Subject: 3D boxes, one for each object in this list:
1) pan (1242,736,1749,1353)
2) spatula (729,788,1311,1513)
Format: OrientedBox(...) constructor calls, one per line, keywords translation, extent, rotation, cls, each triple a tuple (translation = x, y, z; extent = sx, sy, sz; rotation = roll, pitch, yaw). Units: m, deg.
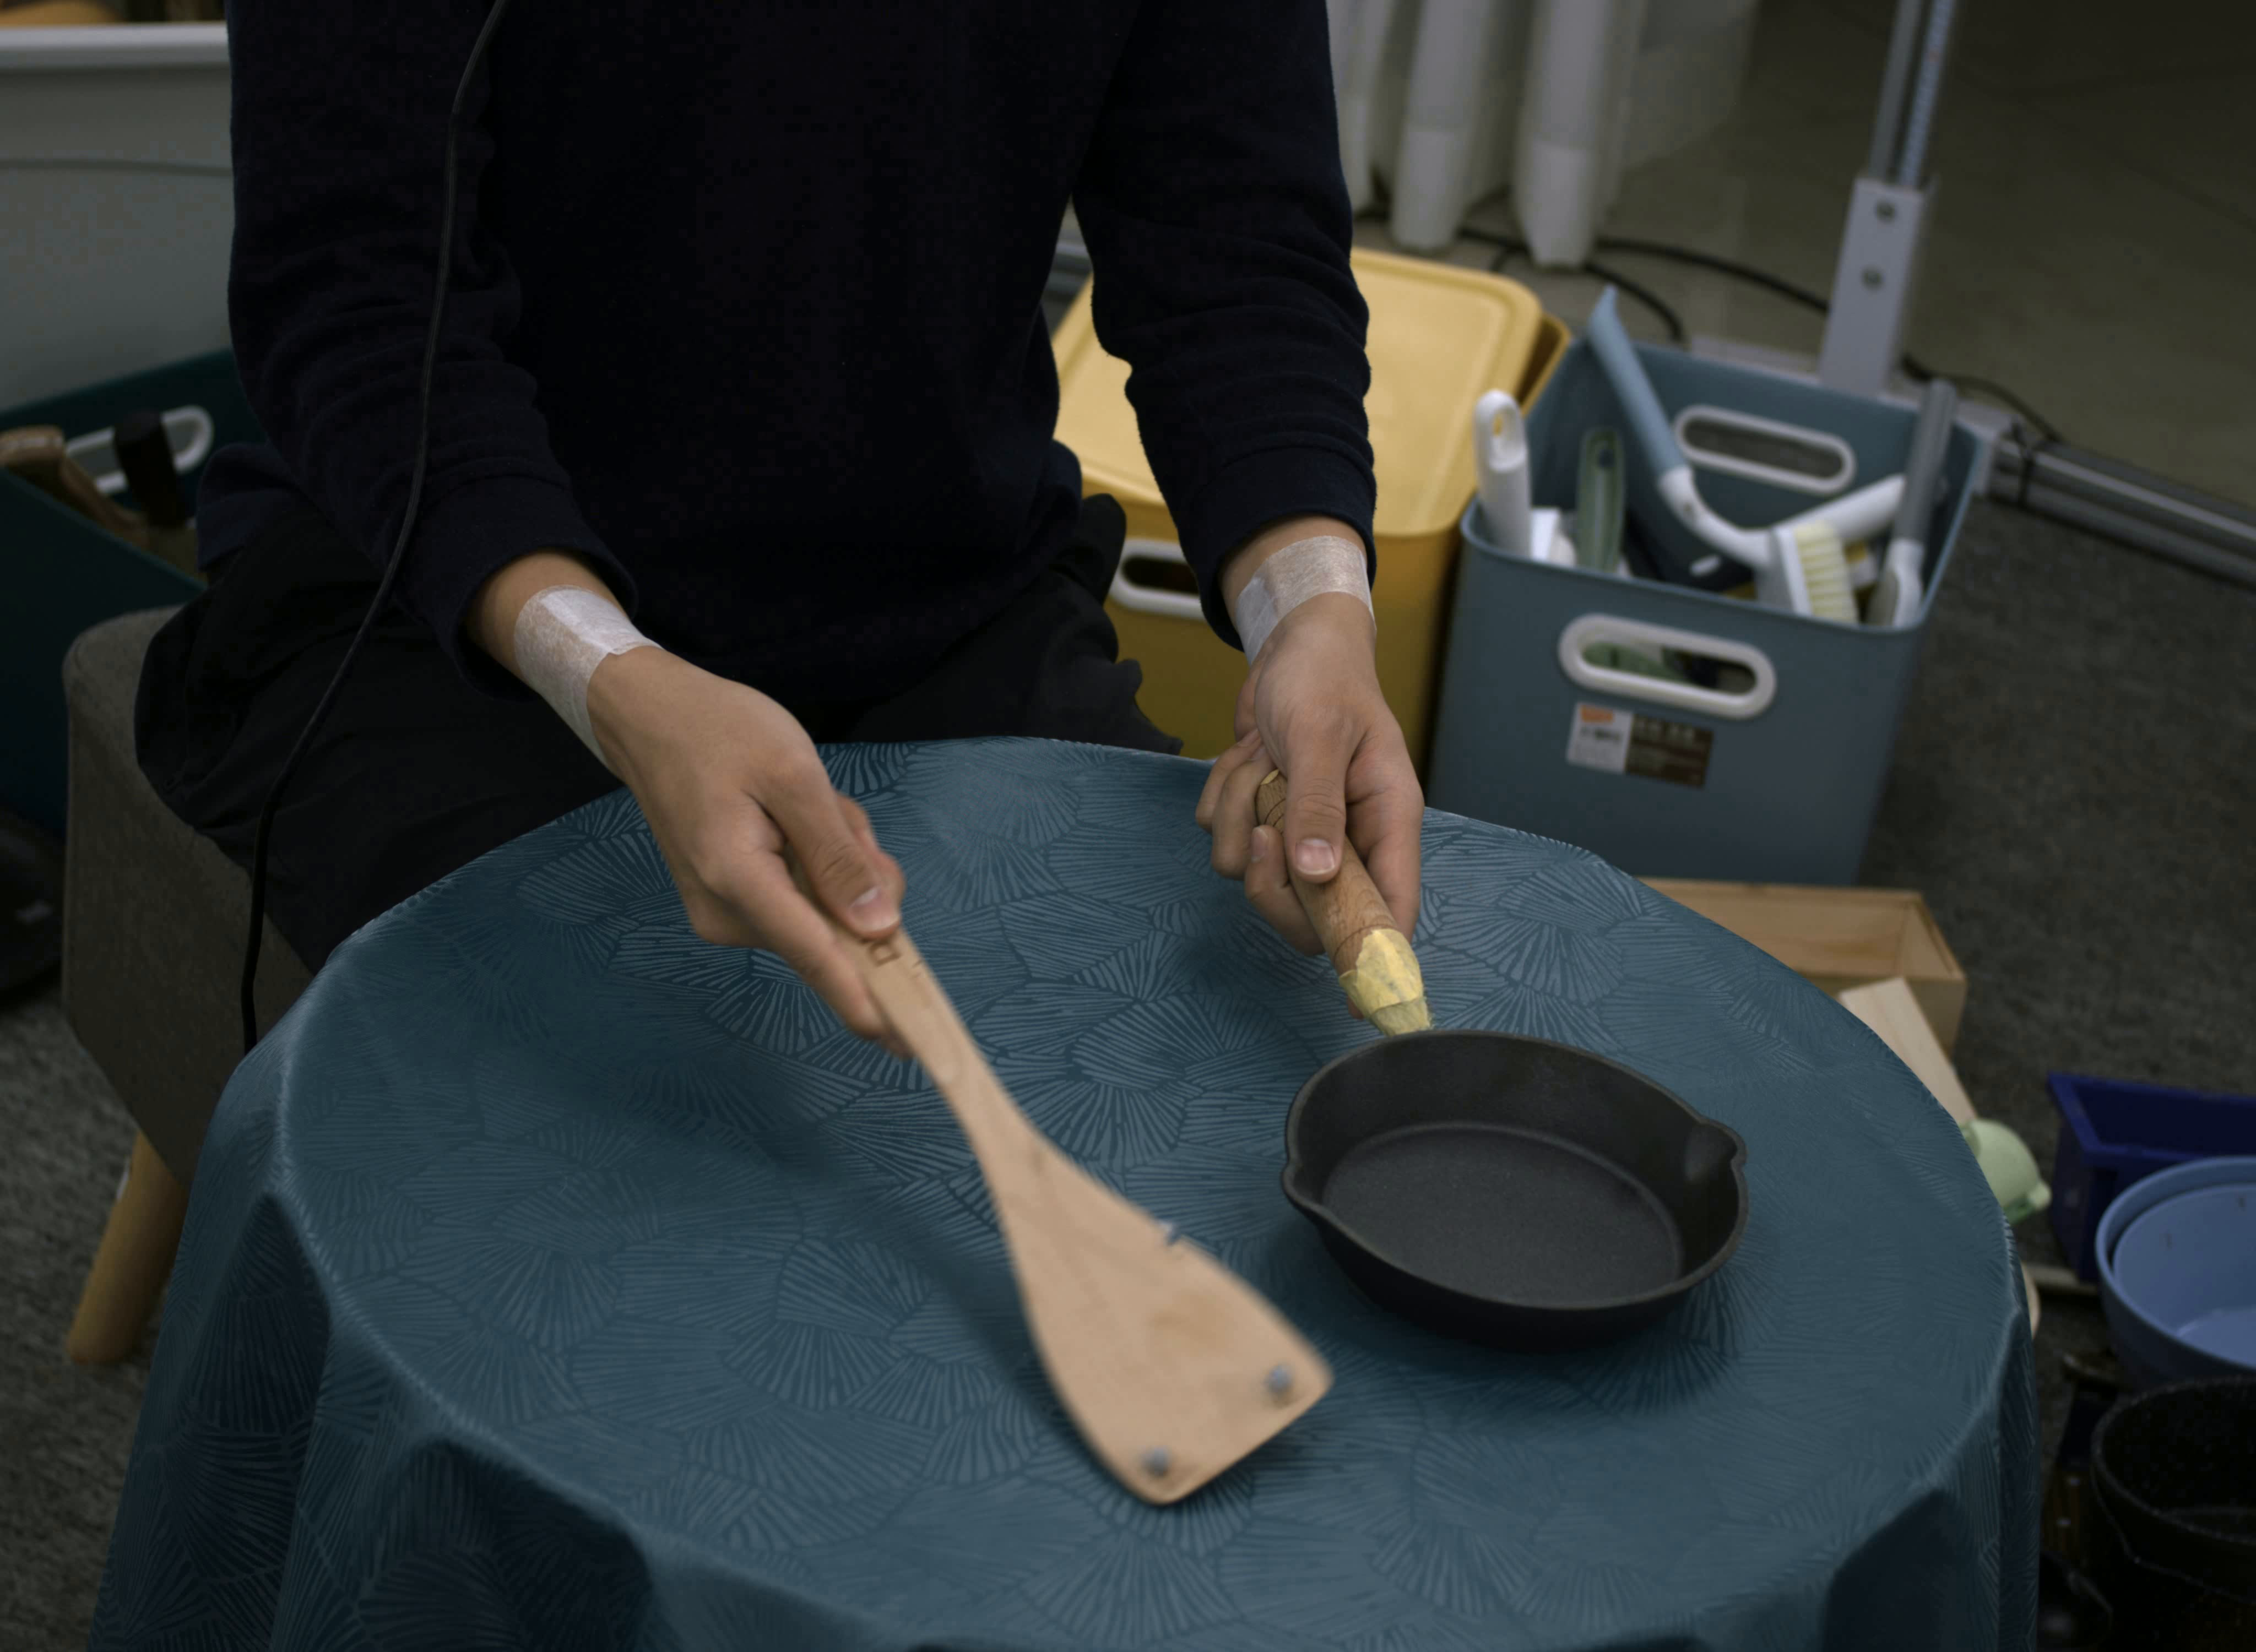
OrientedBox(translation=(0.102, 0.073, 1.844), extent=(0.168, 0.049, 0.327), rotation=(-4, 35, -19), cls="pan")
OrientedBox(translation=(-0.048, 0.096, 1.740), extent=(0.079, 0.016, 0.330), rotation=(-18, 52, -25), cls="spatula")
